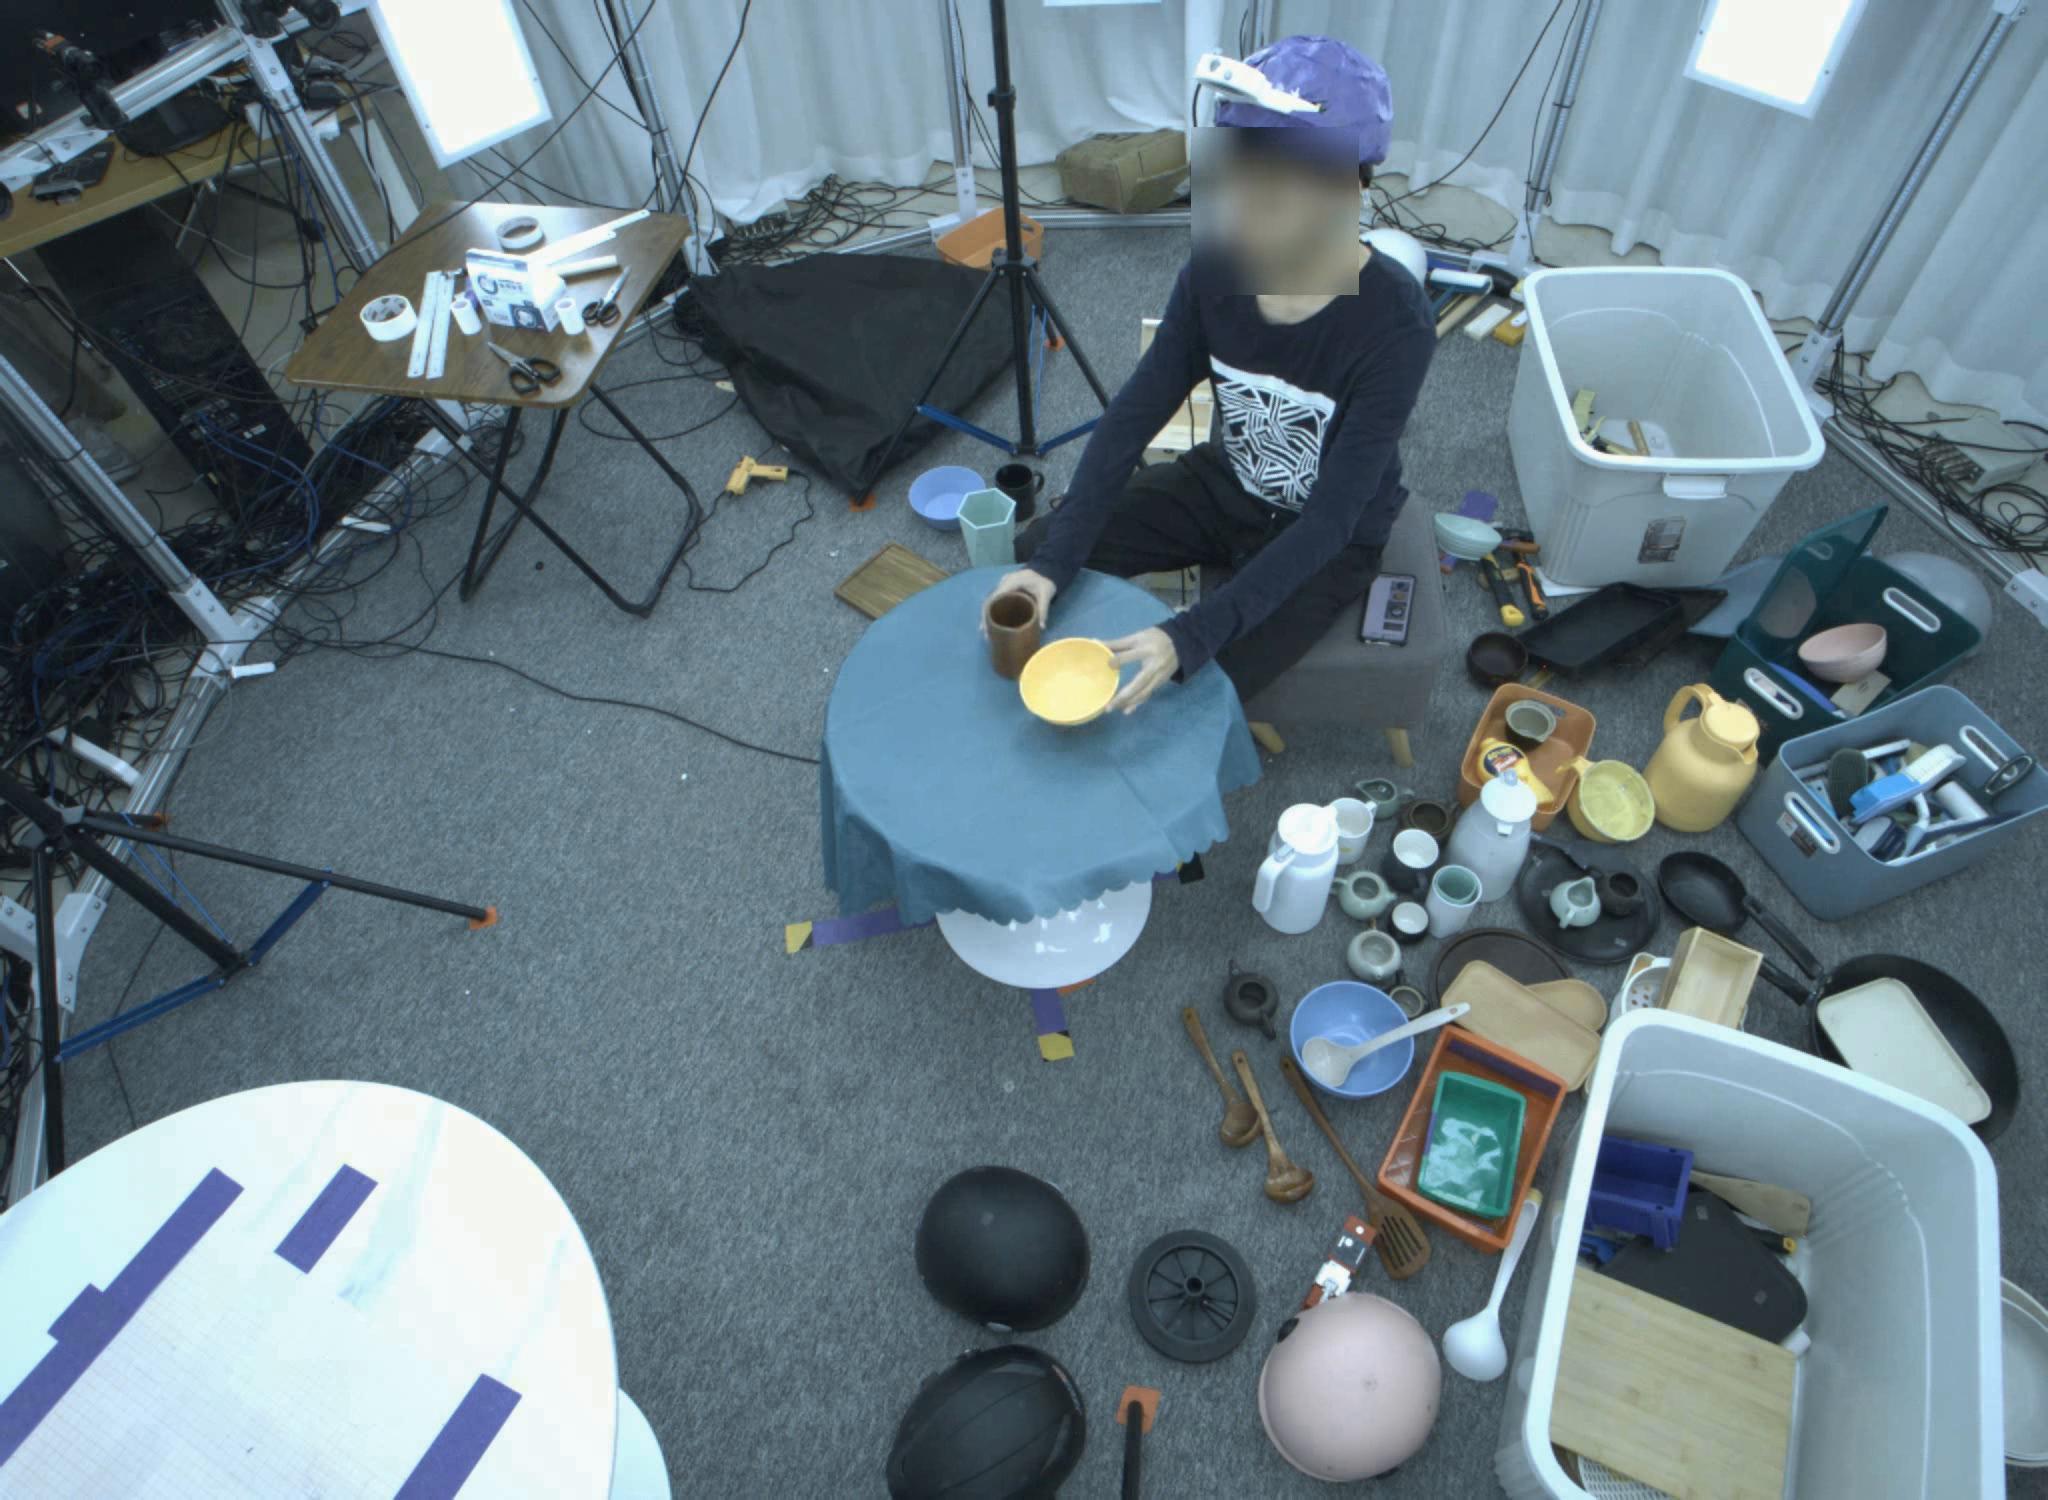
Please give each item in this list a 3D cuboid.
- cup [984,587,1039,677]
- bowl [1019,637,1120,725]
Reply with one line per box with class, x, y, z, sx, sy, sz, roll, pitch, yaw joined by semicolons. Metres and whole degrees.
cup;-0.018;-0.176;1.834;0.088;0.119;0.087;1;57;0
bowl;0.070;-0.088;1.766;0.144;0.061;0.144;-5;57;10
